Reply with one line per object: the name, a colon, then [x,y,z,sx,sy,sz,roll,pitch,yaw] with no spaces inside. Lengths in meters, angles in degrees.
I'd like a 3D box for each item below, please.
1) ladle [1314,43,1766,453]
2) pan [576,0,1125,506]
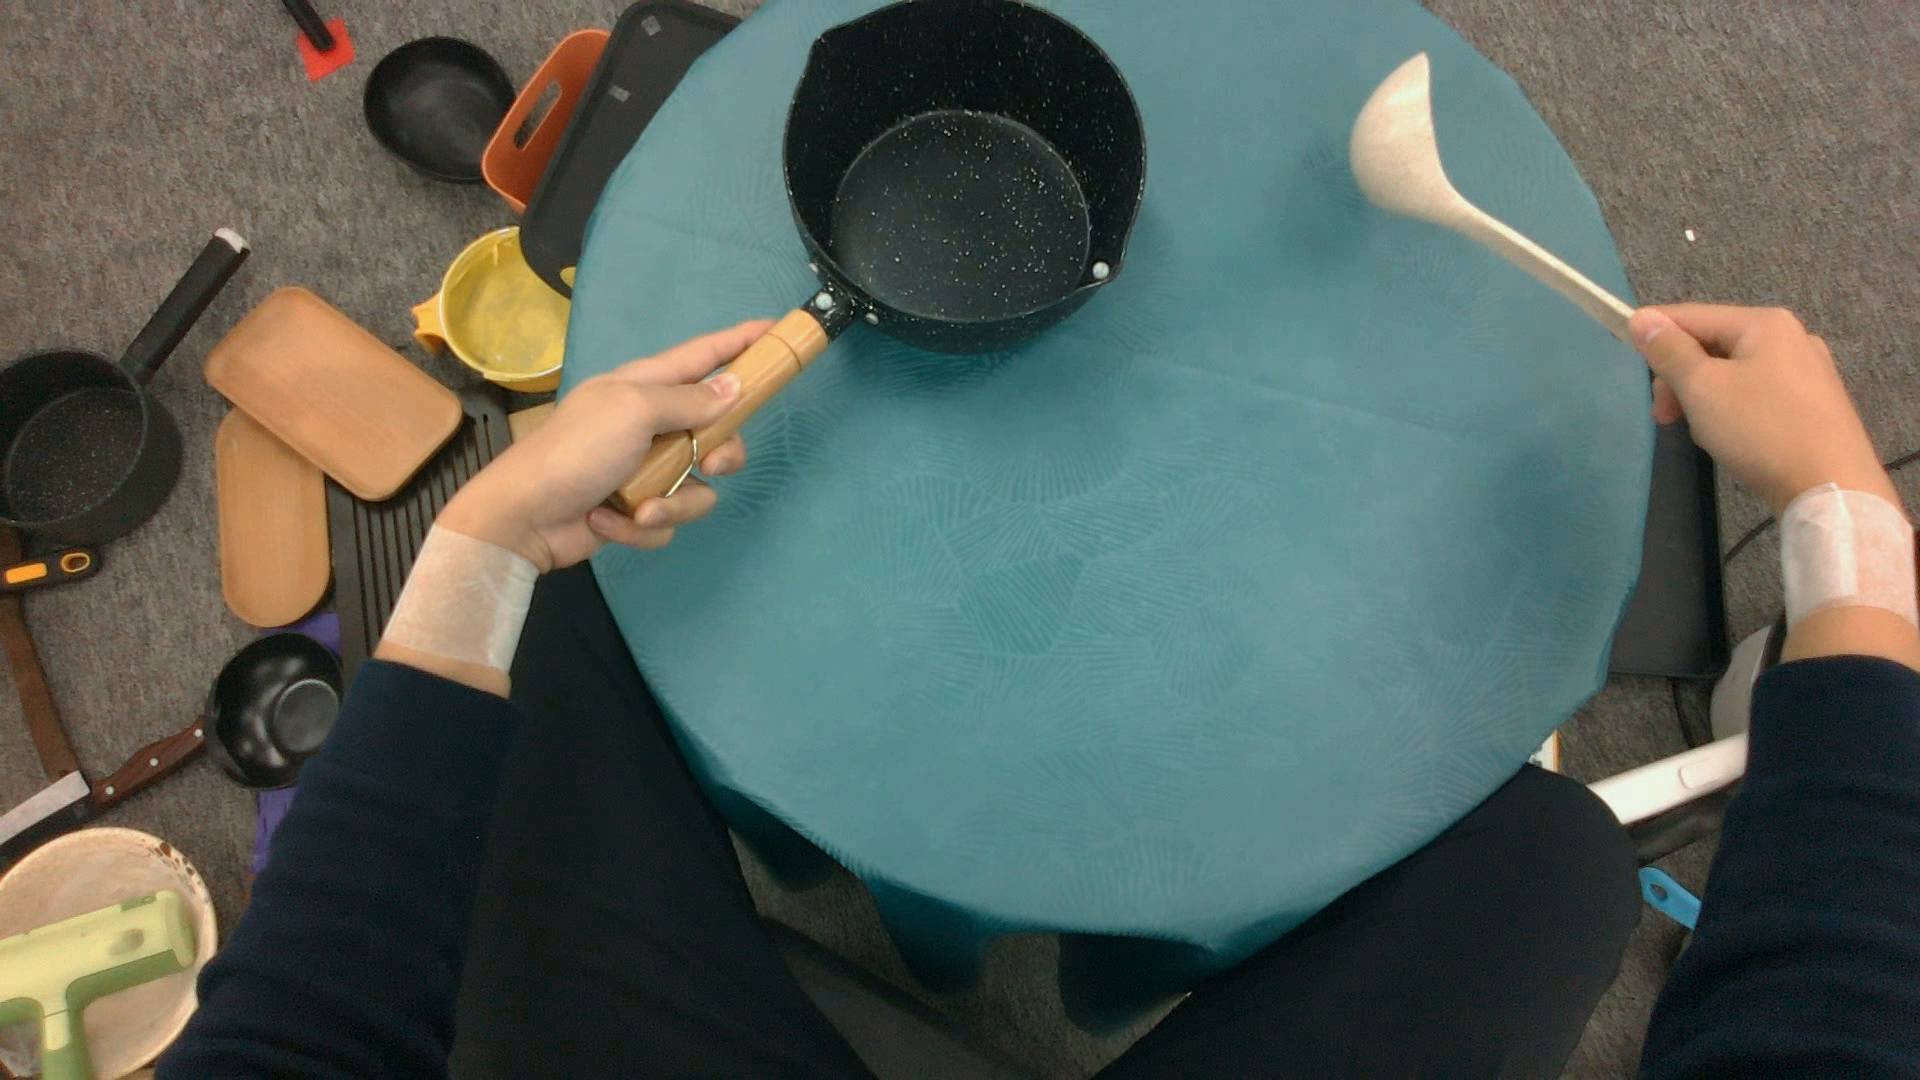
ladle: [0.295,-0.150,0.687,0.275,0.089,0.069,40,82,17]
pan: [-0.059,-0.133,0.706,0.207,0.108,0.343,39,76,6]
